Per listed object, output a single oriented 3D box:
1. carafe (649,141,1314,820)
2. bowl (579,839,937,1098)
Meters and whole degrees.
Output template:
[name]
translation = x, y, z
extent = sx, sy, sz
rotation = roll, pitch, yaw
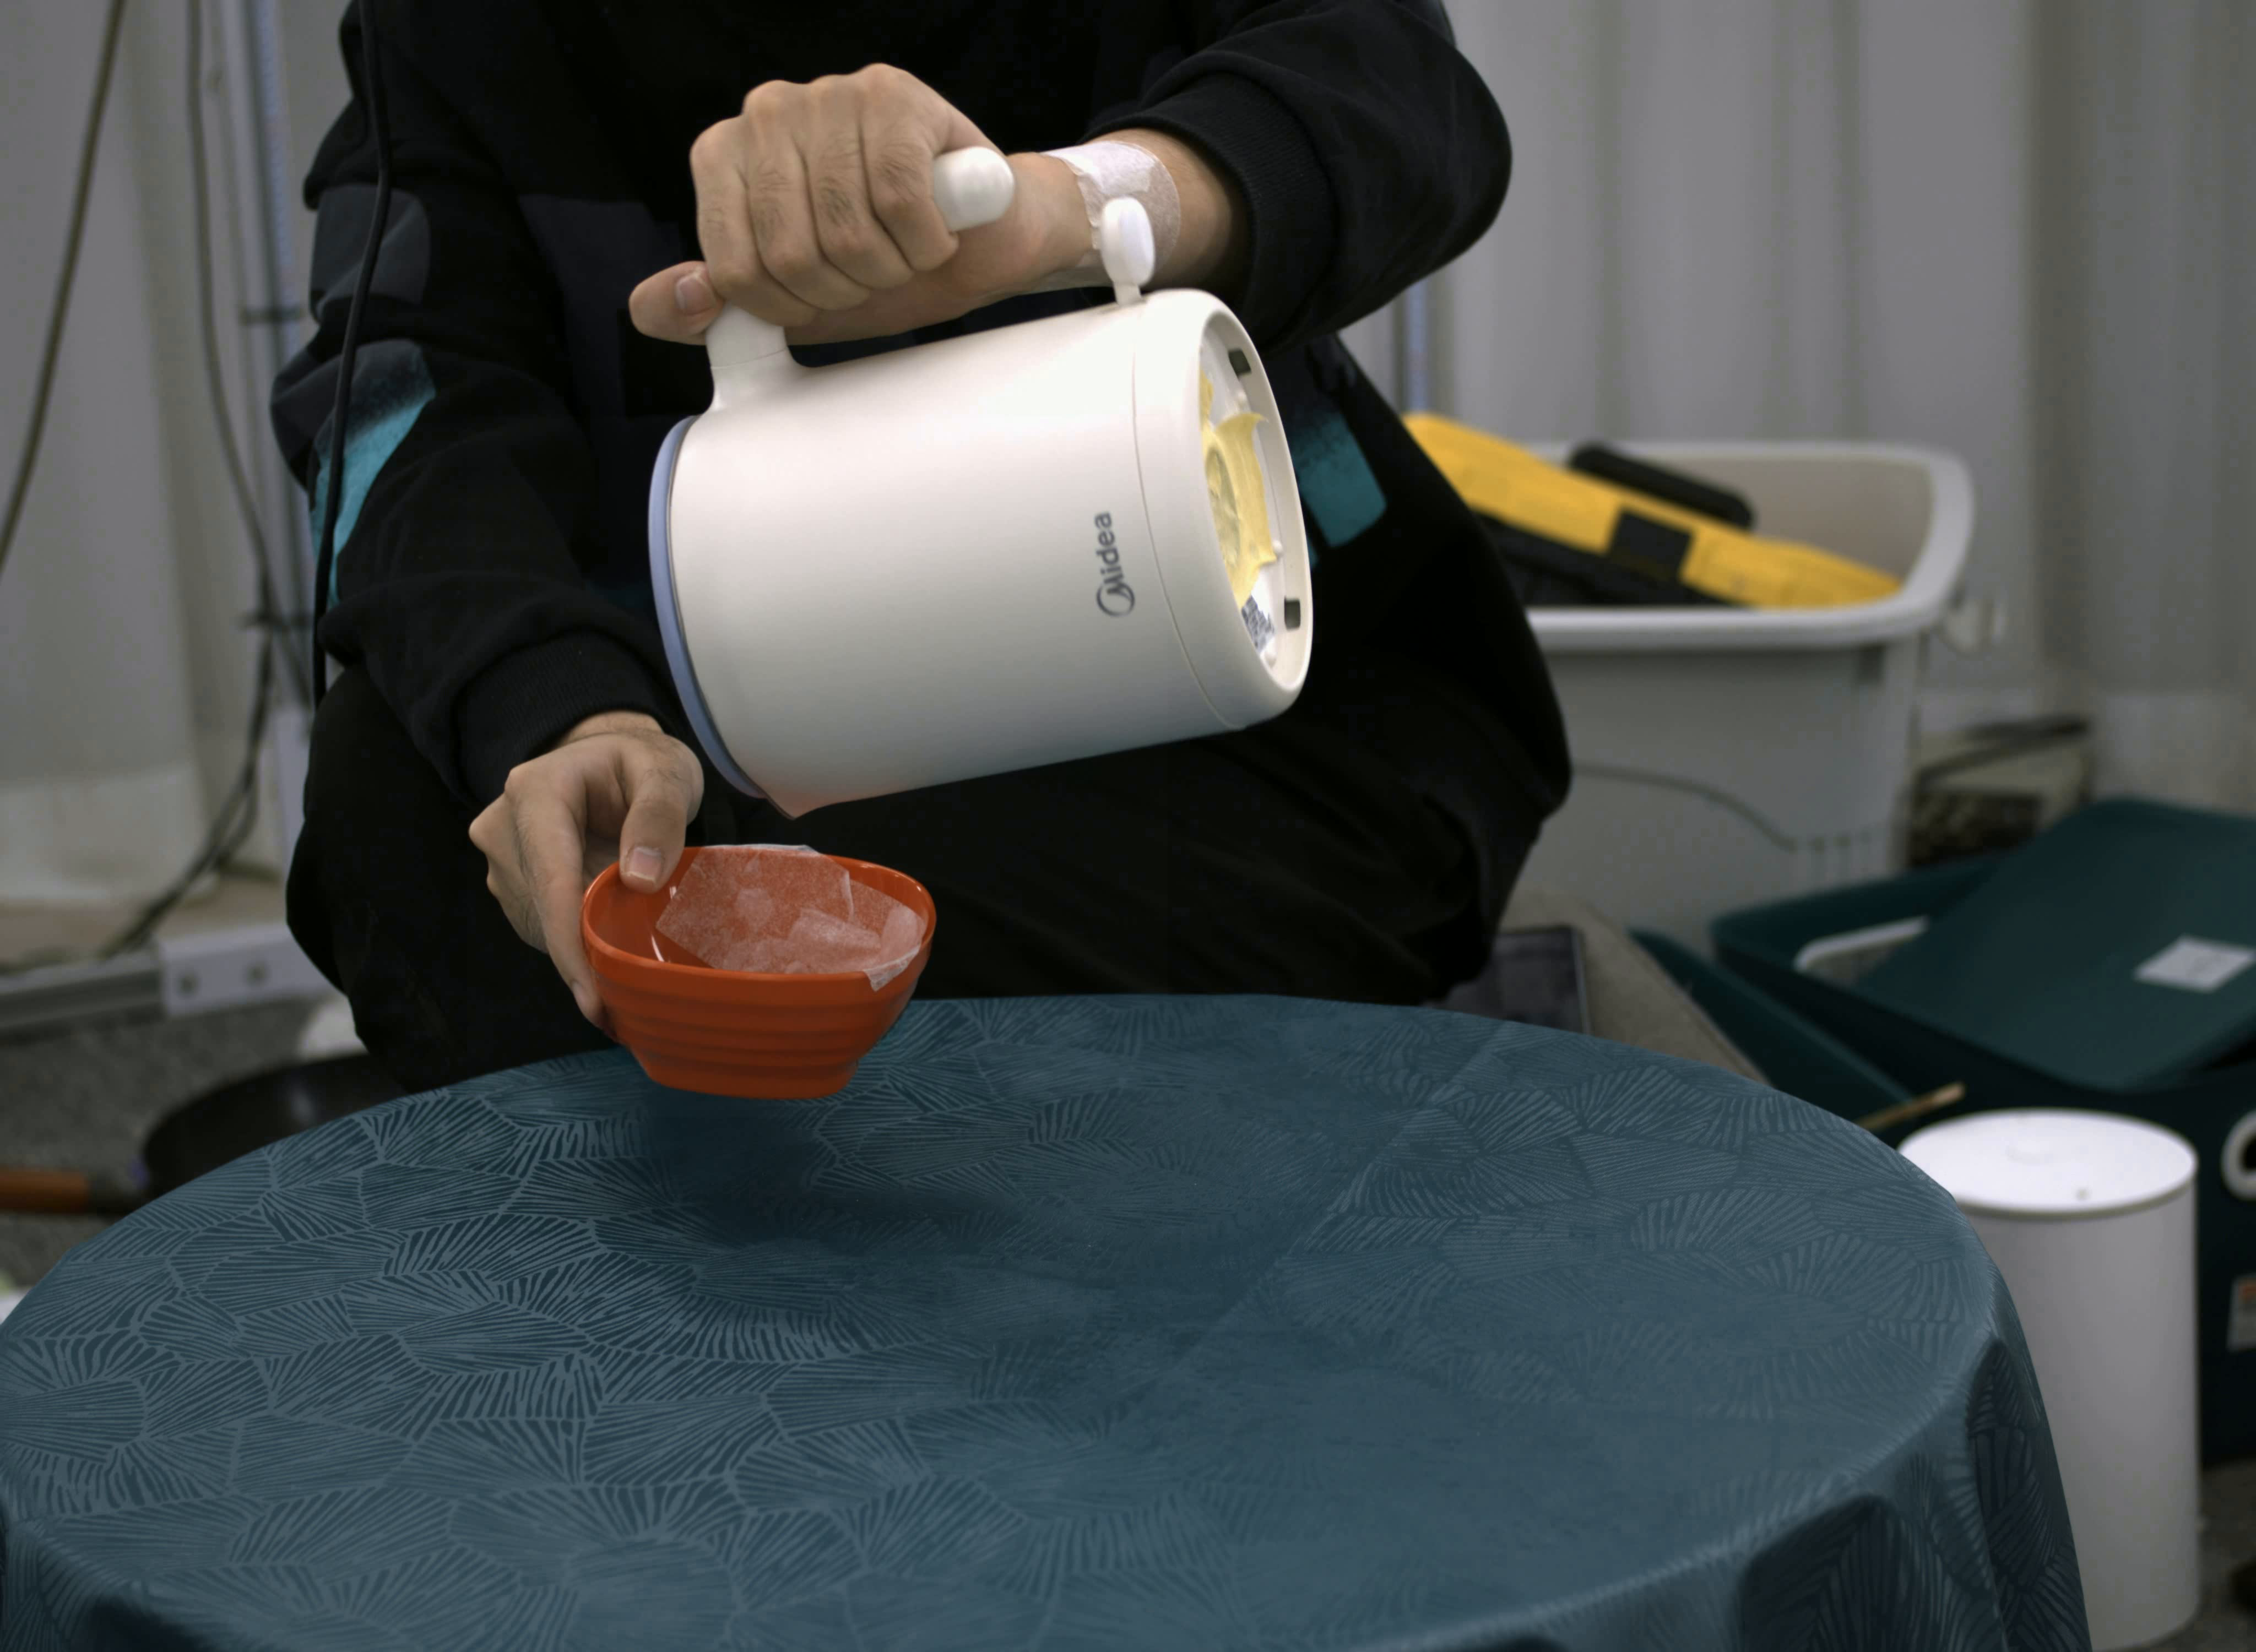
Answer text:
[carafe]
translation = -0.047, -0.106, 1.637
extent = 0.182, 0.191, 0.132
rotation = -9, 9, 14
[bowl]
translation = -0.115, 0.047, 1.696
extent = 0.118, 0.051, 0.120
rotation = 2, 22, -1
